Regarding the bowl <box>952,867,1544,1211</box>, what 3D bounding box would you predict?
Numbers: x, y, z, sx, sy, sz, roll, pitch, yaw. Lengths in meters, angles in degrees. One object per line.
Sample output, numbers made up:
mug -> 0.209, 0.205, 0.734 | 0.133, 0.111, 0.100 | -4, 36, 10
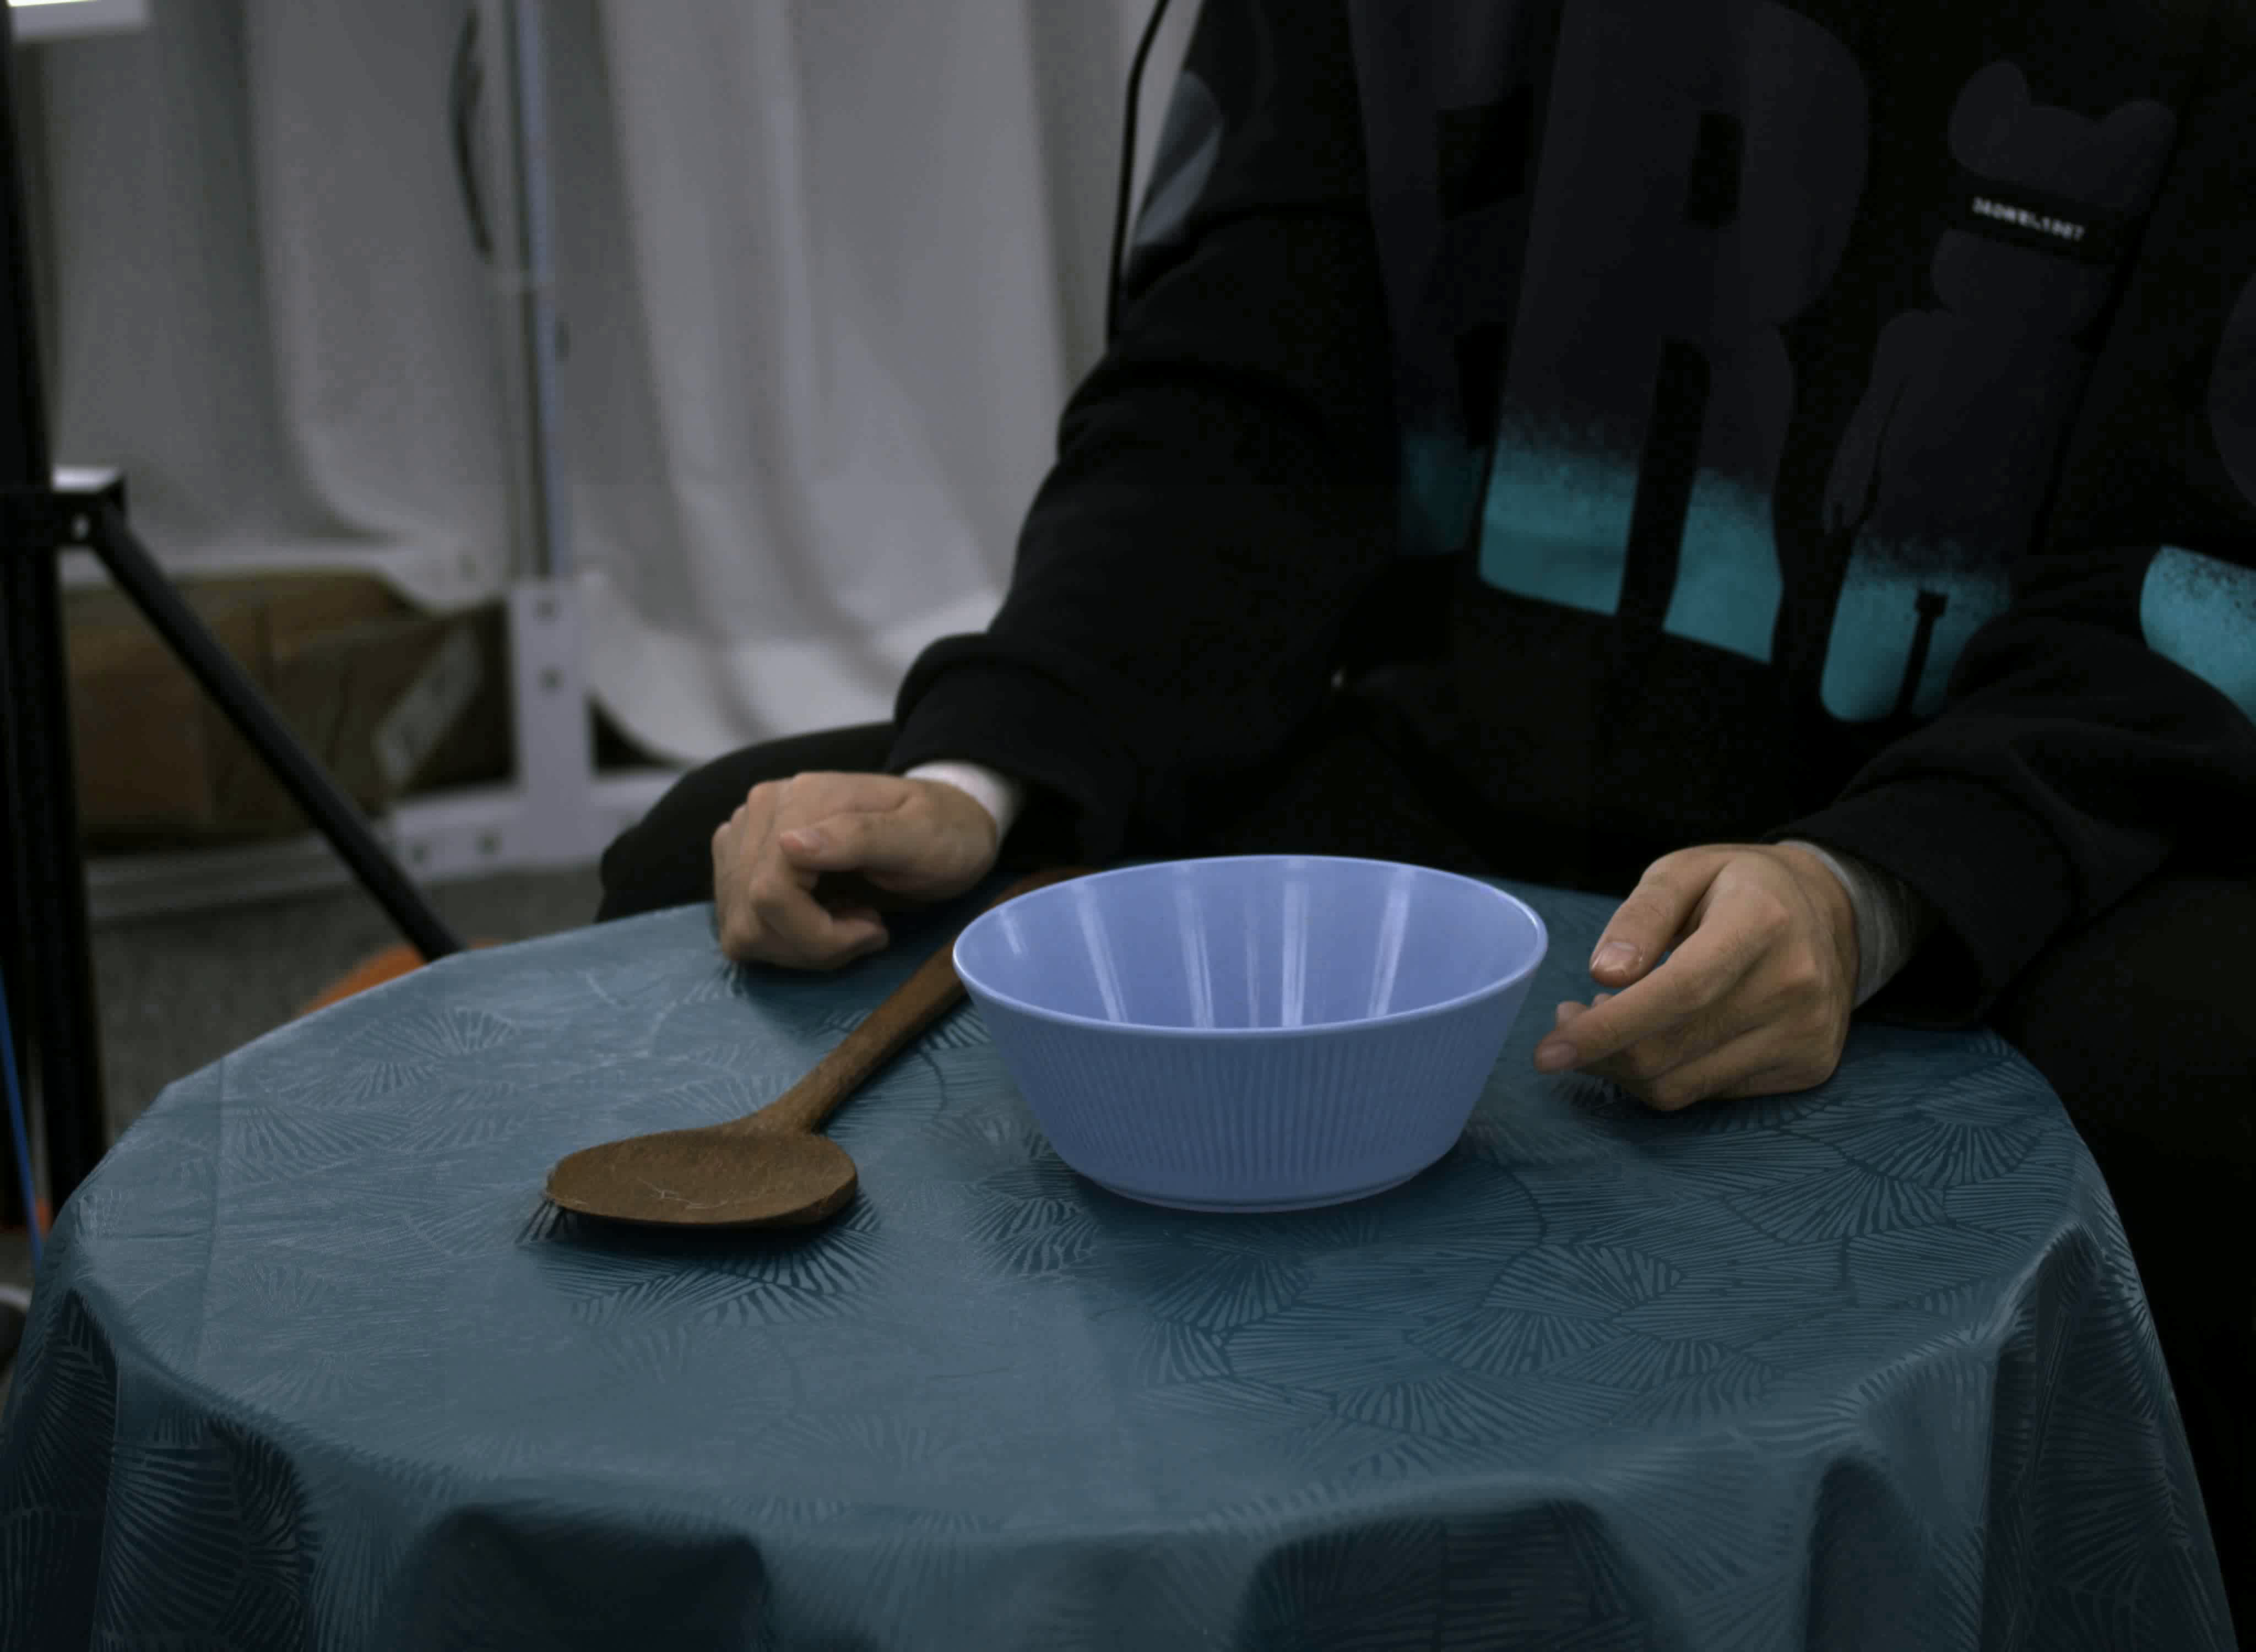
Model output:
bowl -> 0.036, 0.065, 1.577 | 0.175, 0.070, 0.177 | -2, 15, -1

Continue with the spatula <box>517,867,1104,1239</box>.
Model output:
spatula -> -0.078, 0.066, 1.694 | 0.097, 0.016, 0.381 | 3, 17, 19
